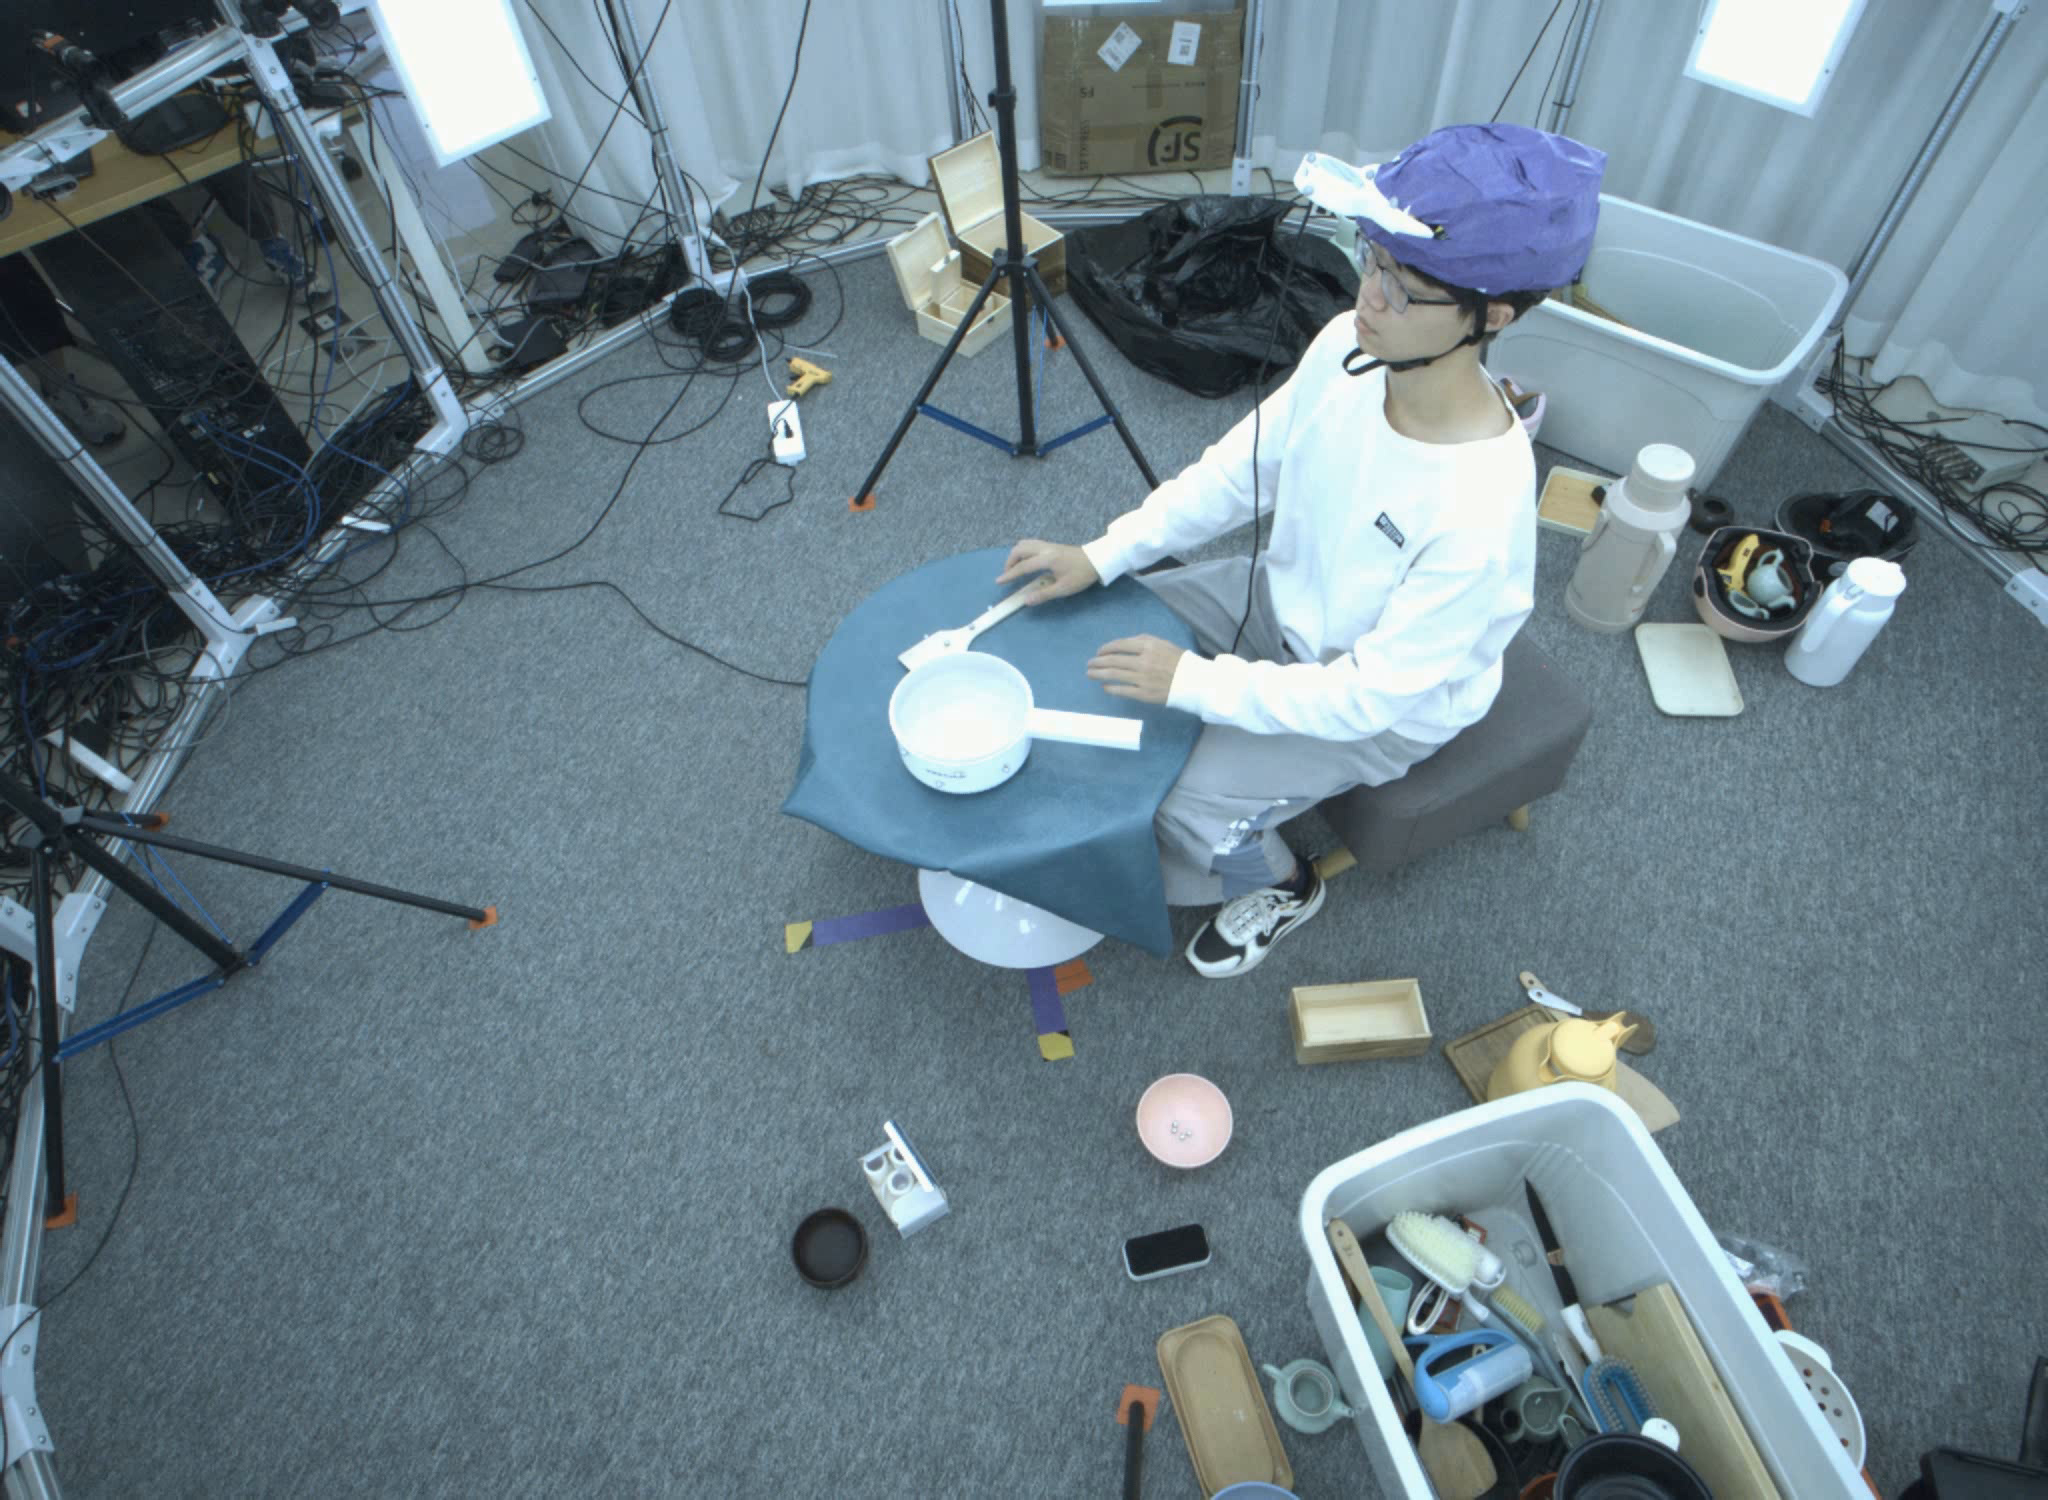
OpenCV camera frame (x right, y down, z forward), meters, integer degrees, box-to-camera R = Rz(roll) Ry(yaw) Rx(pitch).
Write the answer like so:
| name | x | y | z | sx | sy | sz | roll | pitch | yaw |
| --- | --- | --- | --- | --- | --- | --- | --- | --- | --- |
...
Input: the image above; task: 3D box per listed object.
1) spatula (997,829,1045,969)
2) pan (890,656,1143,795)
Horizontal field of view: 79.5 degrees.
| name | x | y | z | sx | sy | sz | roll | pitch | yaw |
| --- | --- | --- | --- | --- | --- | --- | --- | --- | --- |
| spatula | 0.005 | 0.272 | 2.269 | 0.072 | 0.011 | 0.289 | -7 | 55 | -5 |
| pan | -0.011 | -0.019 | 1.748 | 0.354 | 0.103 | 0.200 | 9 | 51 | 4 |
